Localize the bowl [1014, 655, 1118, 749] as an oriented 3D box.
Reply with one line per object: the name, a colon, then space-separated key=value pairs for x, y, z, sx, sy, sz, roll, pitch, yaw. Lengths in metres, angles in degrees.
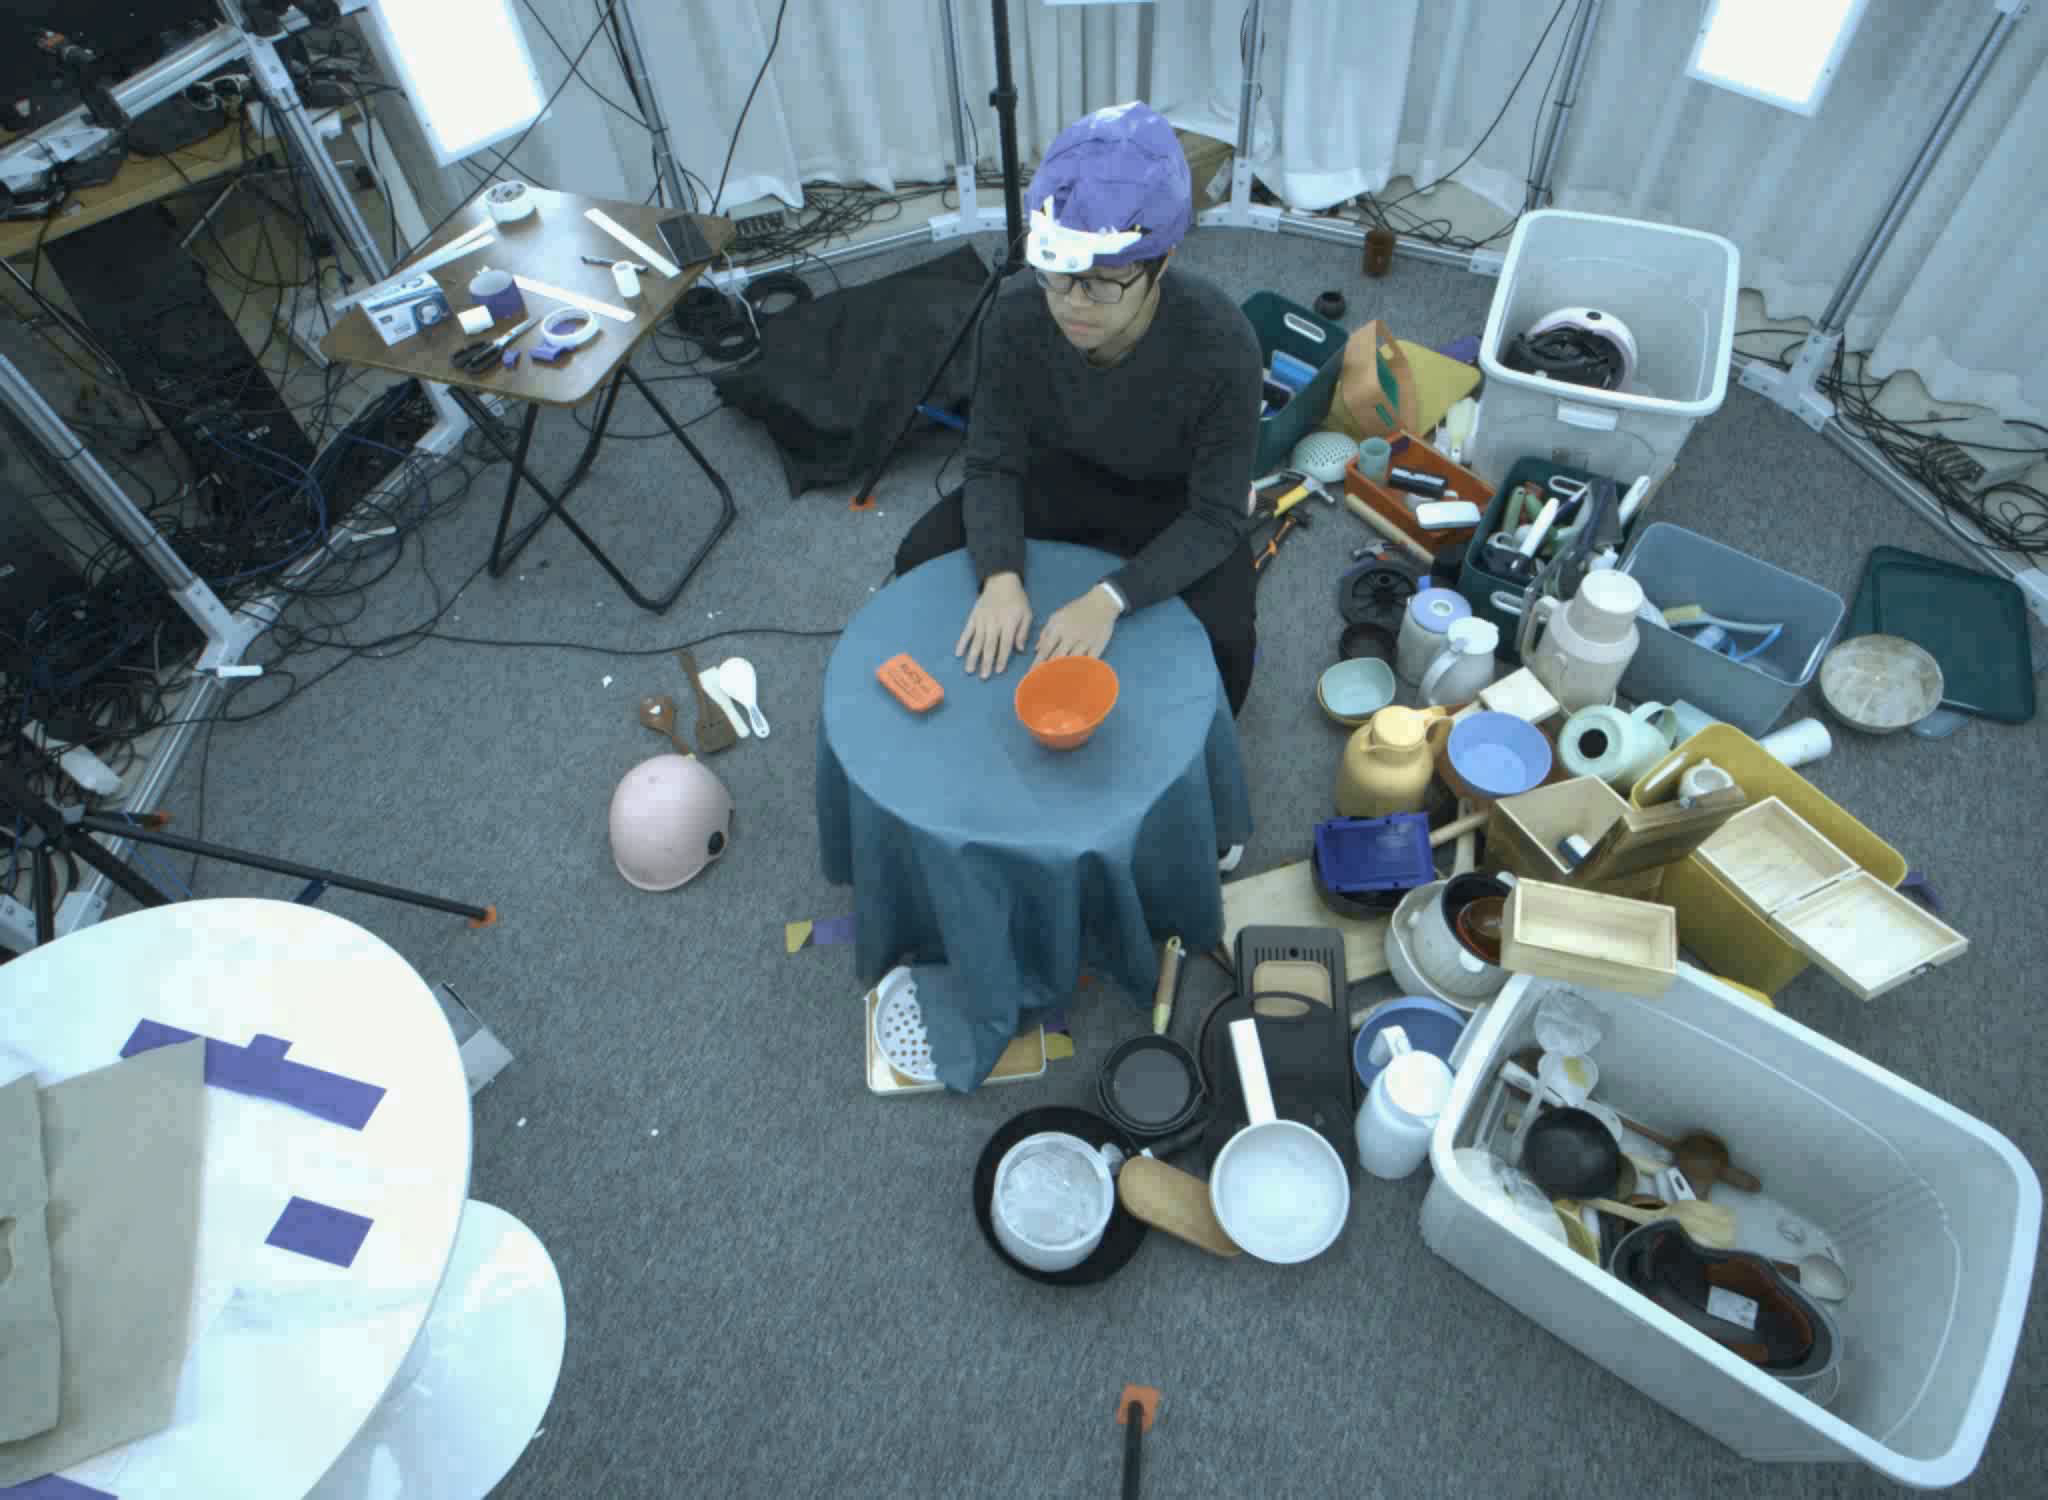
bowl: x=0.061 y=-0.054 z=1.762 sx=0.148 sy=0.106 sz=0.146 roll=-1 pitch=55 yaw=3

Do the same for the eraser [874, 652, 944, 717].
eraser: x=-0.173 y=-0.100 z=1.846 sx=0.059 sy=0.023 sz=0.106 roll=-38 pitch=63 yaw=-20
